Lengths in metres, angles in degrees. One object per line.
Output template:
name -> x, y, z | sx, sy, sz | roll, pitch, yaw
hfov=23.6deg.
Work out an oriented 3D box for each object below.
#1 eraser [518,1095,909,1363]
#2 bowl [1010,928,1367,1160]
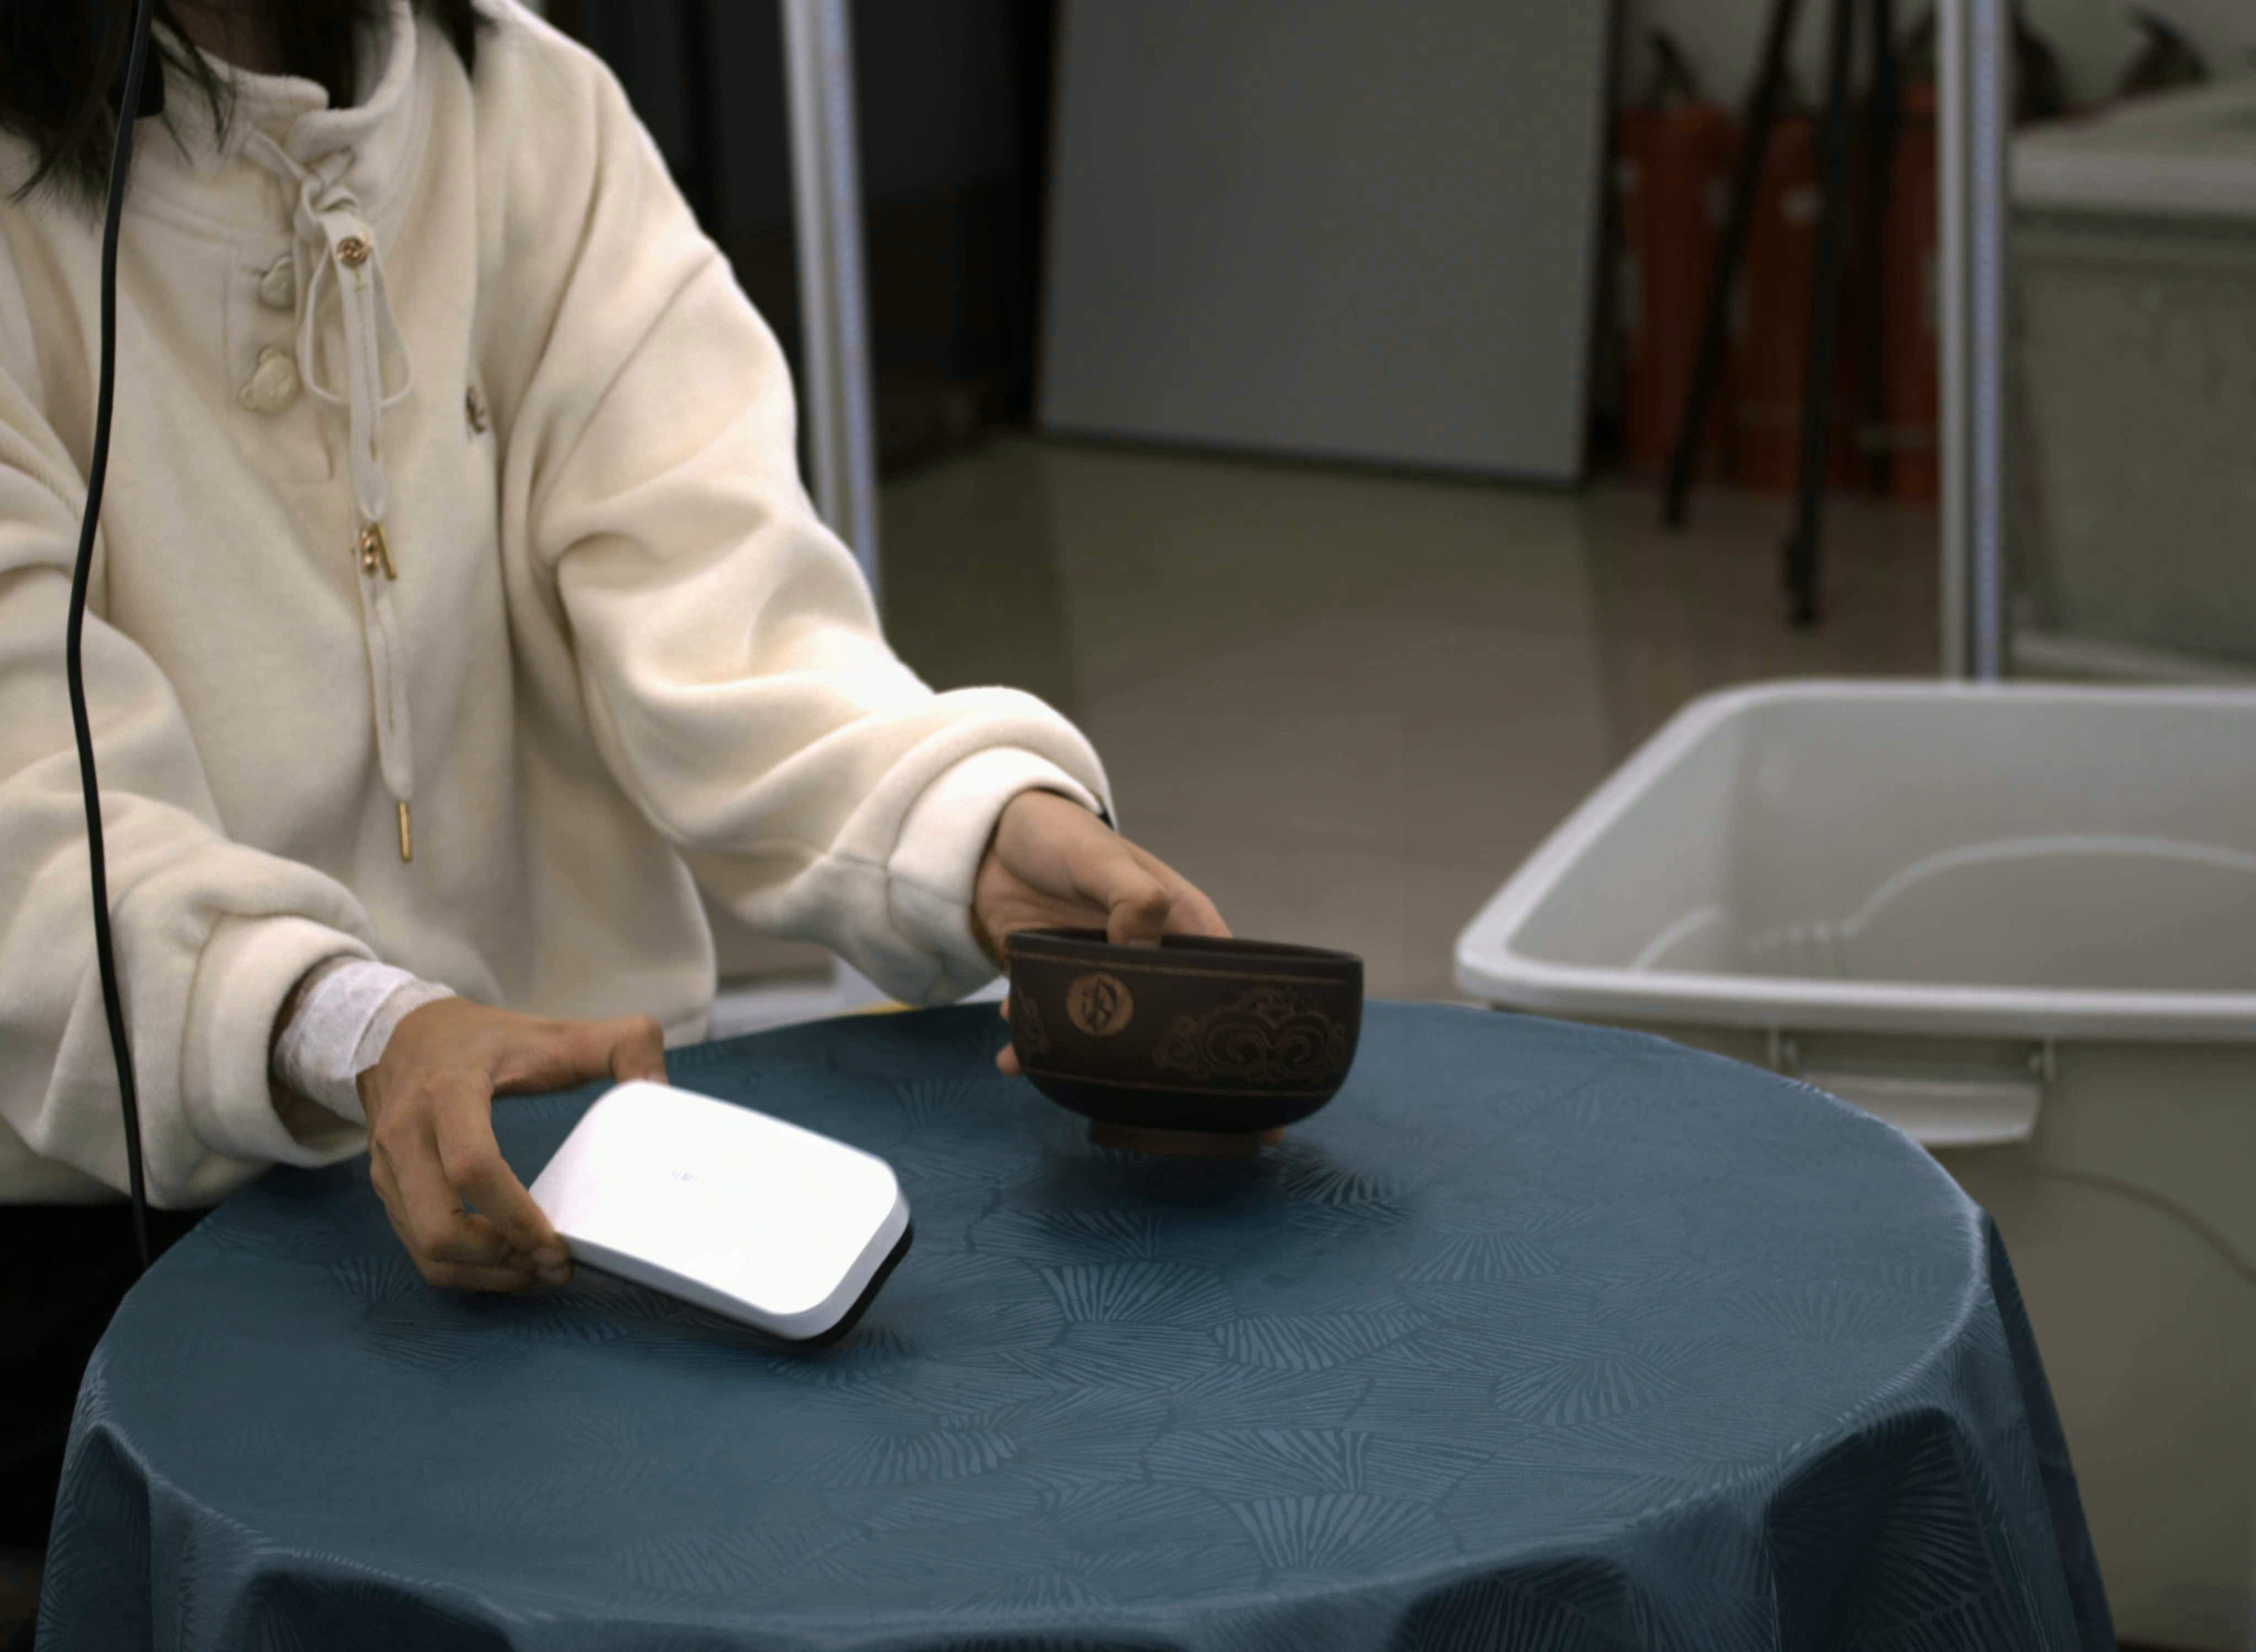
eraser -> -0.128, 0.122, 1.671 | 0.132, 0.034, 0.063 | 16, 55, 40
bowl -> 0.019, 0.072, 1.765 | 0.116, 0.071, 0.118 | 5, -1, -1
